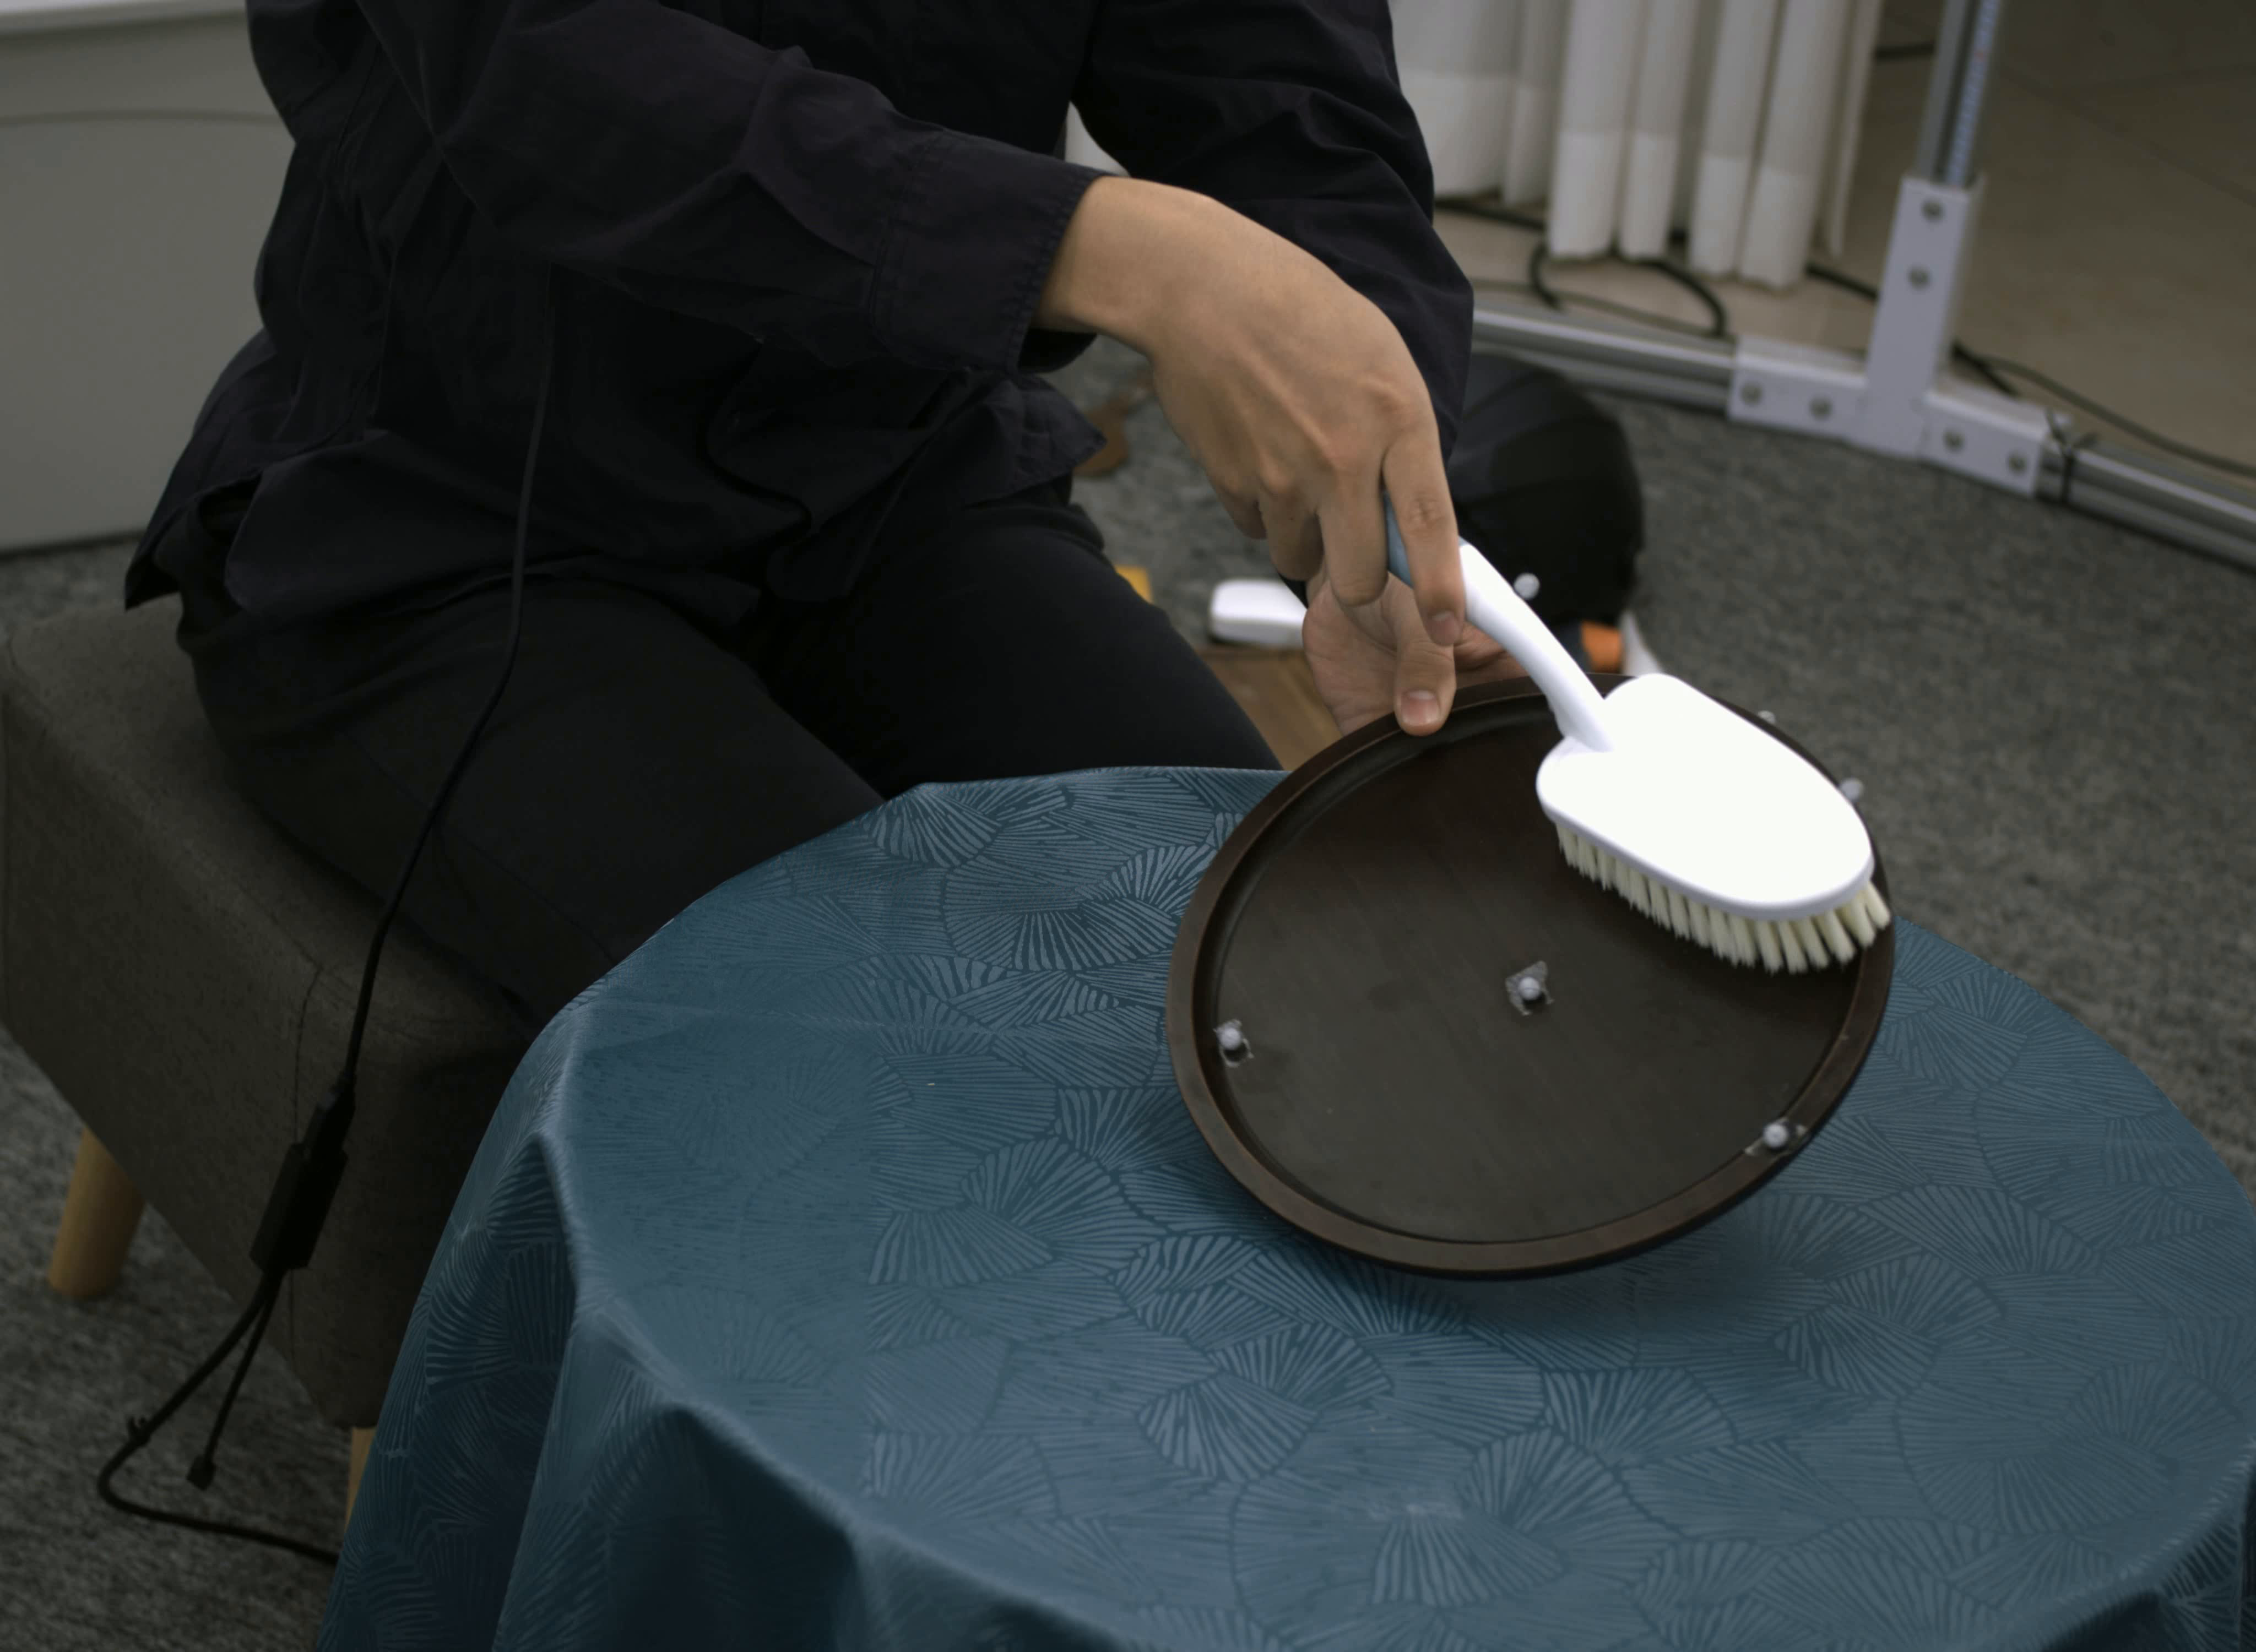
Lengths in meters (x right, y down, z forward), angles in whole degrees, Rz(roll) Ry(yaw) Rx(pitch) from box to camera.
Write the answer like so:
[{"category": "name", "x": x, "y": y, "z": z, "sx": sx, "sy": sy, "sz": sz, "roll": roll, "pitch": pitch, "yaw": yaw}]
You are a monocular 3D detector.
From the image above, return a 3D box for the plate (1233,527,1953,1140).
[{"category": "plate", "x": 0.161, "y": 0.004, "z": 1.848, "sx": 0.255, "sy": 0.029, "sz": 0.257, "roll": -10, "pitch": 50, "yaw": 12}]

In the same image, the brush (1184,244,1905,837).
[{"category": "brush", "x": 0.146, "y": -0.099, "z": 1.882, "sx": 0.327, "sy": 0.084, "sz": 0.082, "roll": 39, "pitch": 35, "yaw": 25}]
